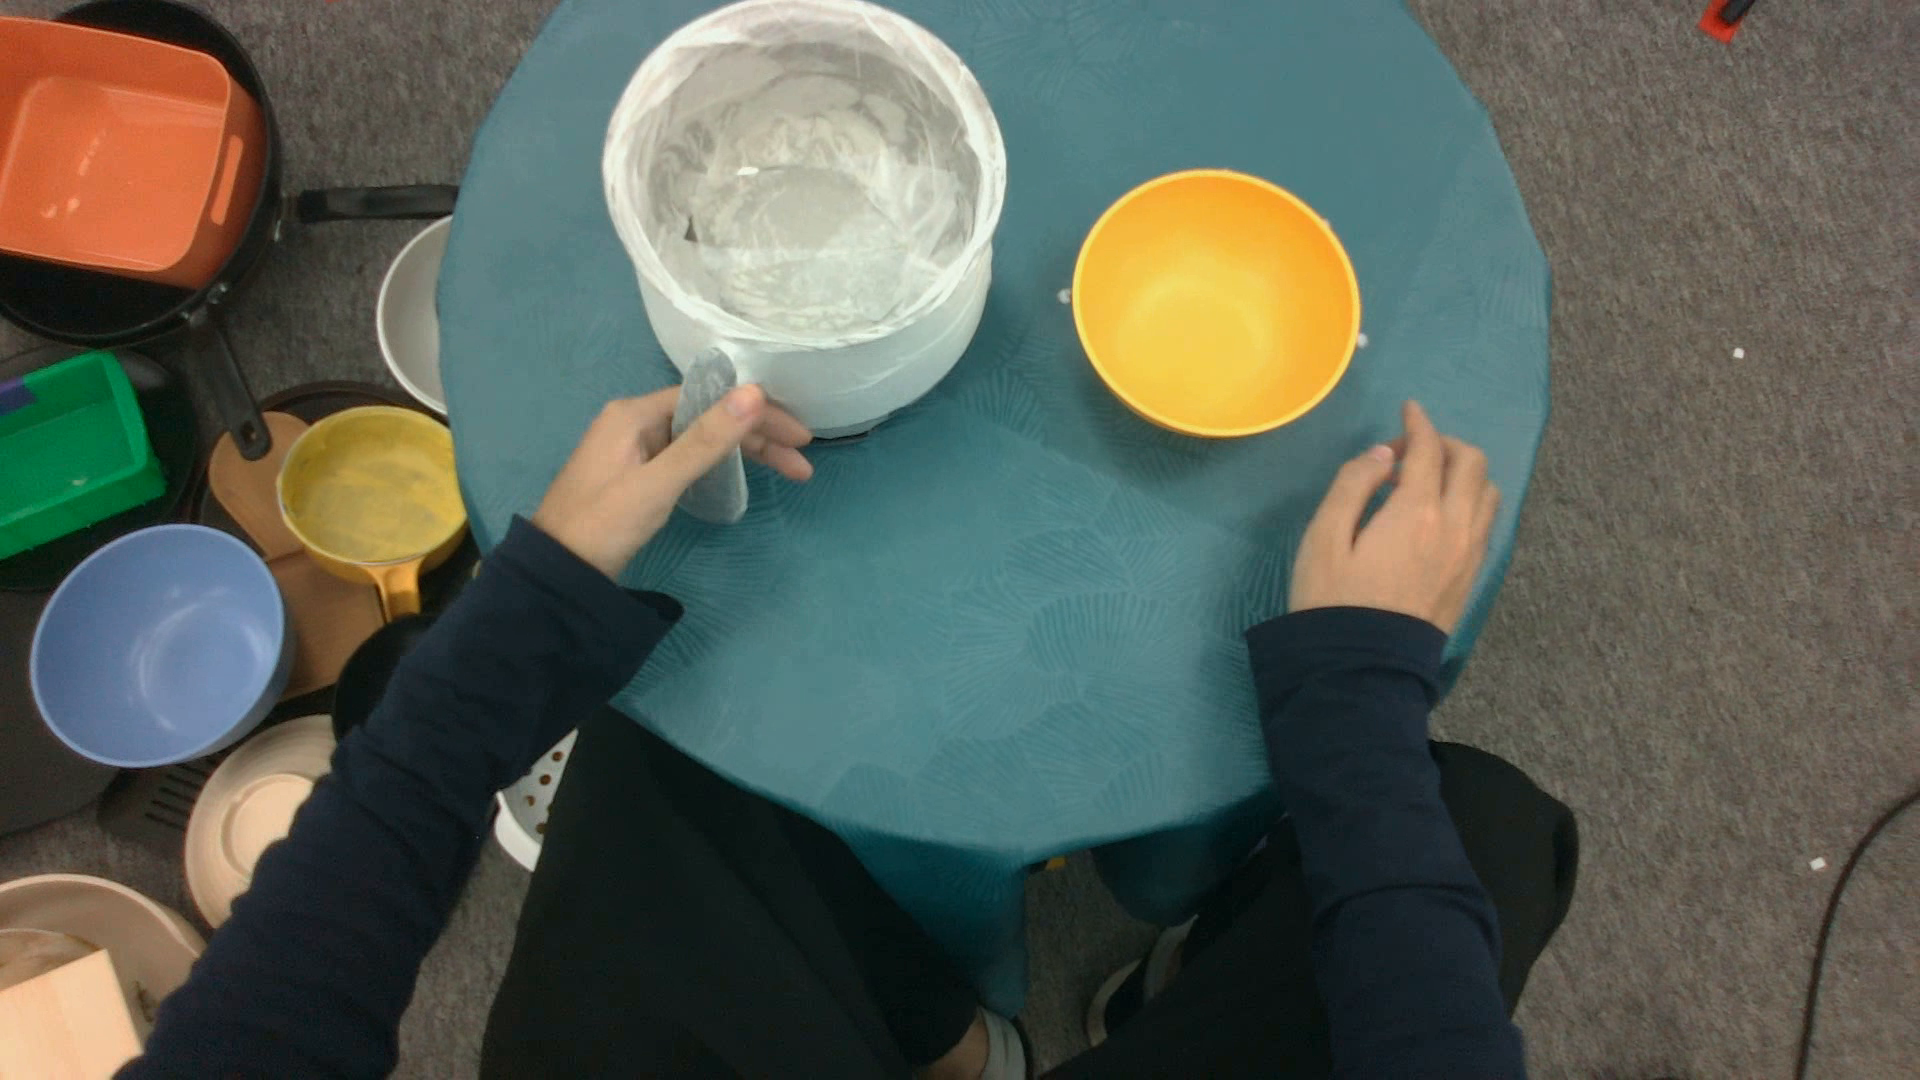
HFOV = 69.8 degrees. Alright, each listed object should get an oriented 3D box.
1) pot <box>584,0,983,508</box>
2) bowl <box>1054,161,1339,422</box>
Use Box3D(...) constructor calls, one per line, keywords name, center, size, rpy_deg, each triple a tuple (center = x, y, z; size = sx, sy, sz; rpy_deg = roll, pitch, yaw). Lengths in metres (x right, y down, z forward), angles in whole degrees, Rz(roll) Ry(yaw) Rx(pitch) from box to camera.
Box3D(name="pot", center=(-0.092, -0.132, 0.667), size=(0.179, 0.136, 0.234), rpy_deg=(21, 75, 1))
Box3D(name="bowl", center=(0.118, -0.119, 0.717), size=(0.145, 0.060, 0.145), rpy_deg=(1, 73, -3))
